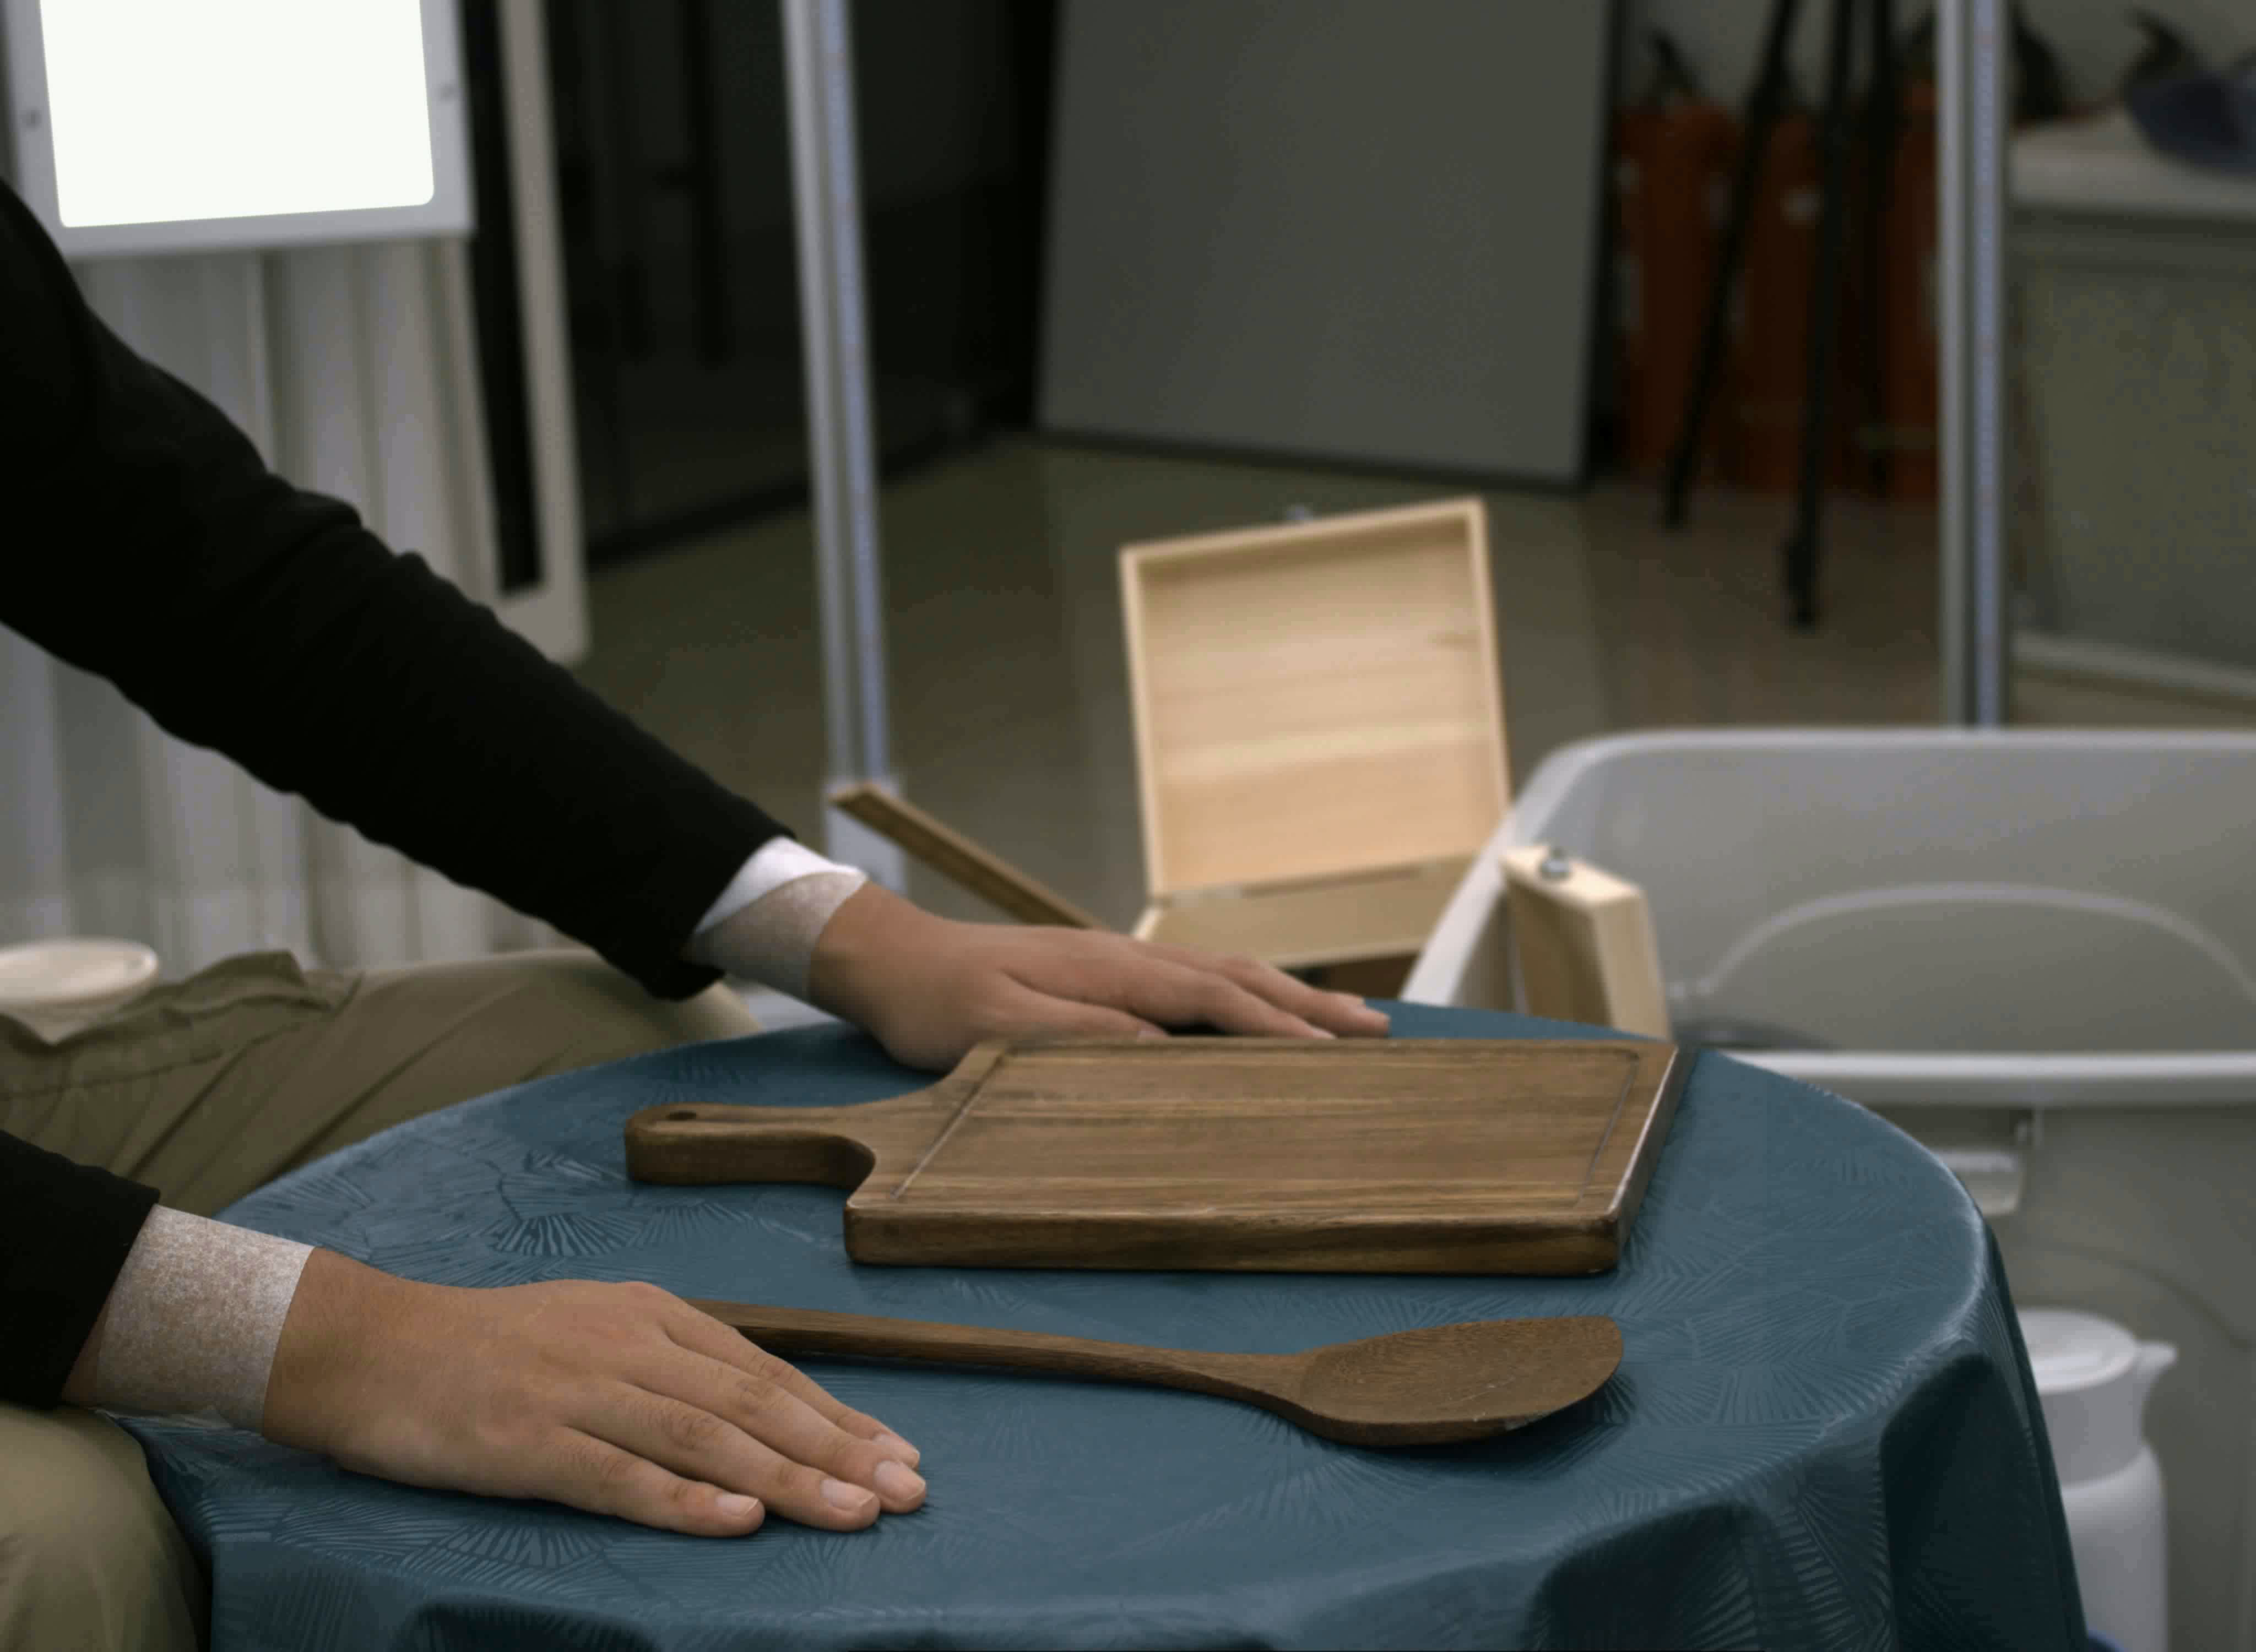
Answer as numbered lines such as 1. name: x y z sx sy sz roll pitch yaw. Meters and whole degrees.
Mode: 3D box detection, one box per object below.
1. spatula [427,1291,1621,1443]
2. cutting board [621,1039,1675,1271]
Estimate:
1. spatula: -0.040 0.156 1.608 0.386 0.016 0.095 1 14 23
2. cutting board: 0.001 0.107 1.783 0.350 0.023 0.200 -1 14 14
